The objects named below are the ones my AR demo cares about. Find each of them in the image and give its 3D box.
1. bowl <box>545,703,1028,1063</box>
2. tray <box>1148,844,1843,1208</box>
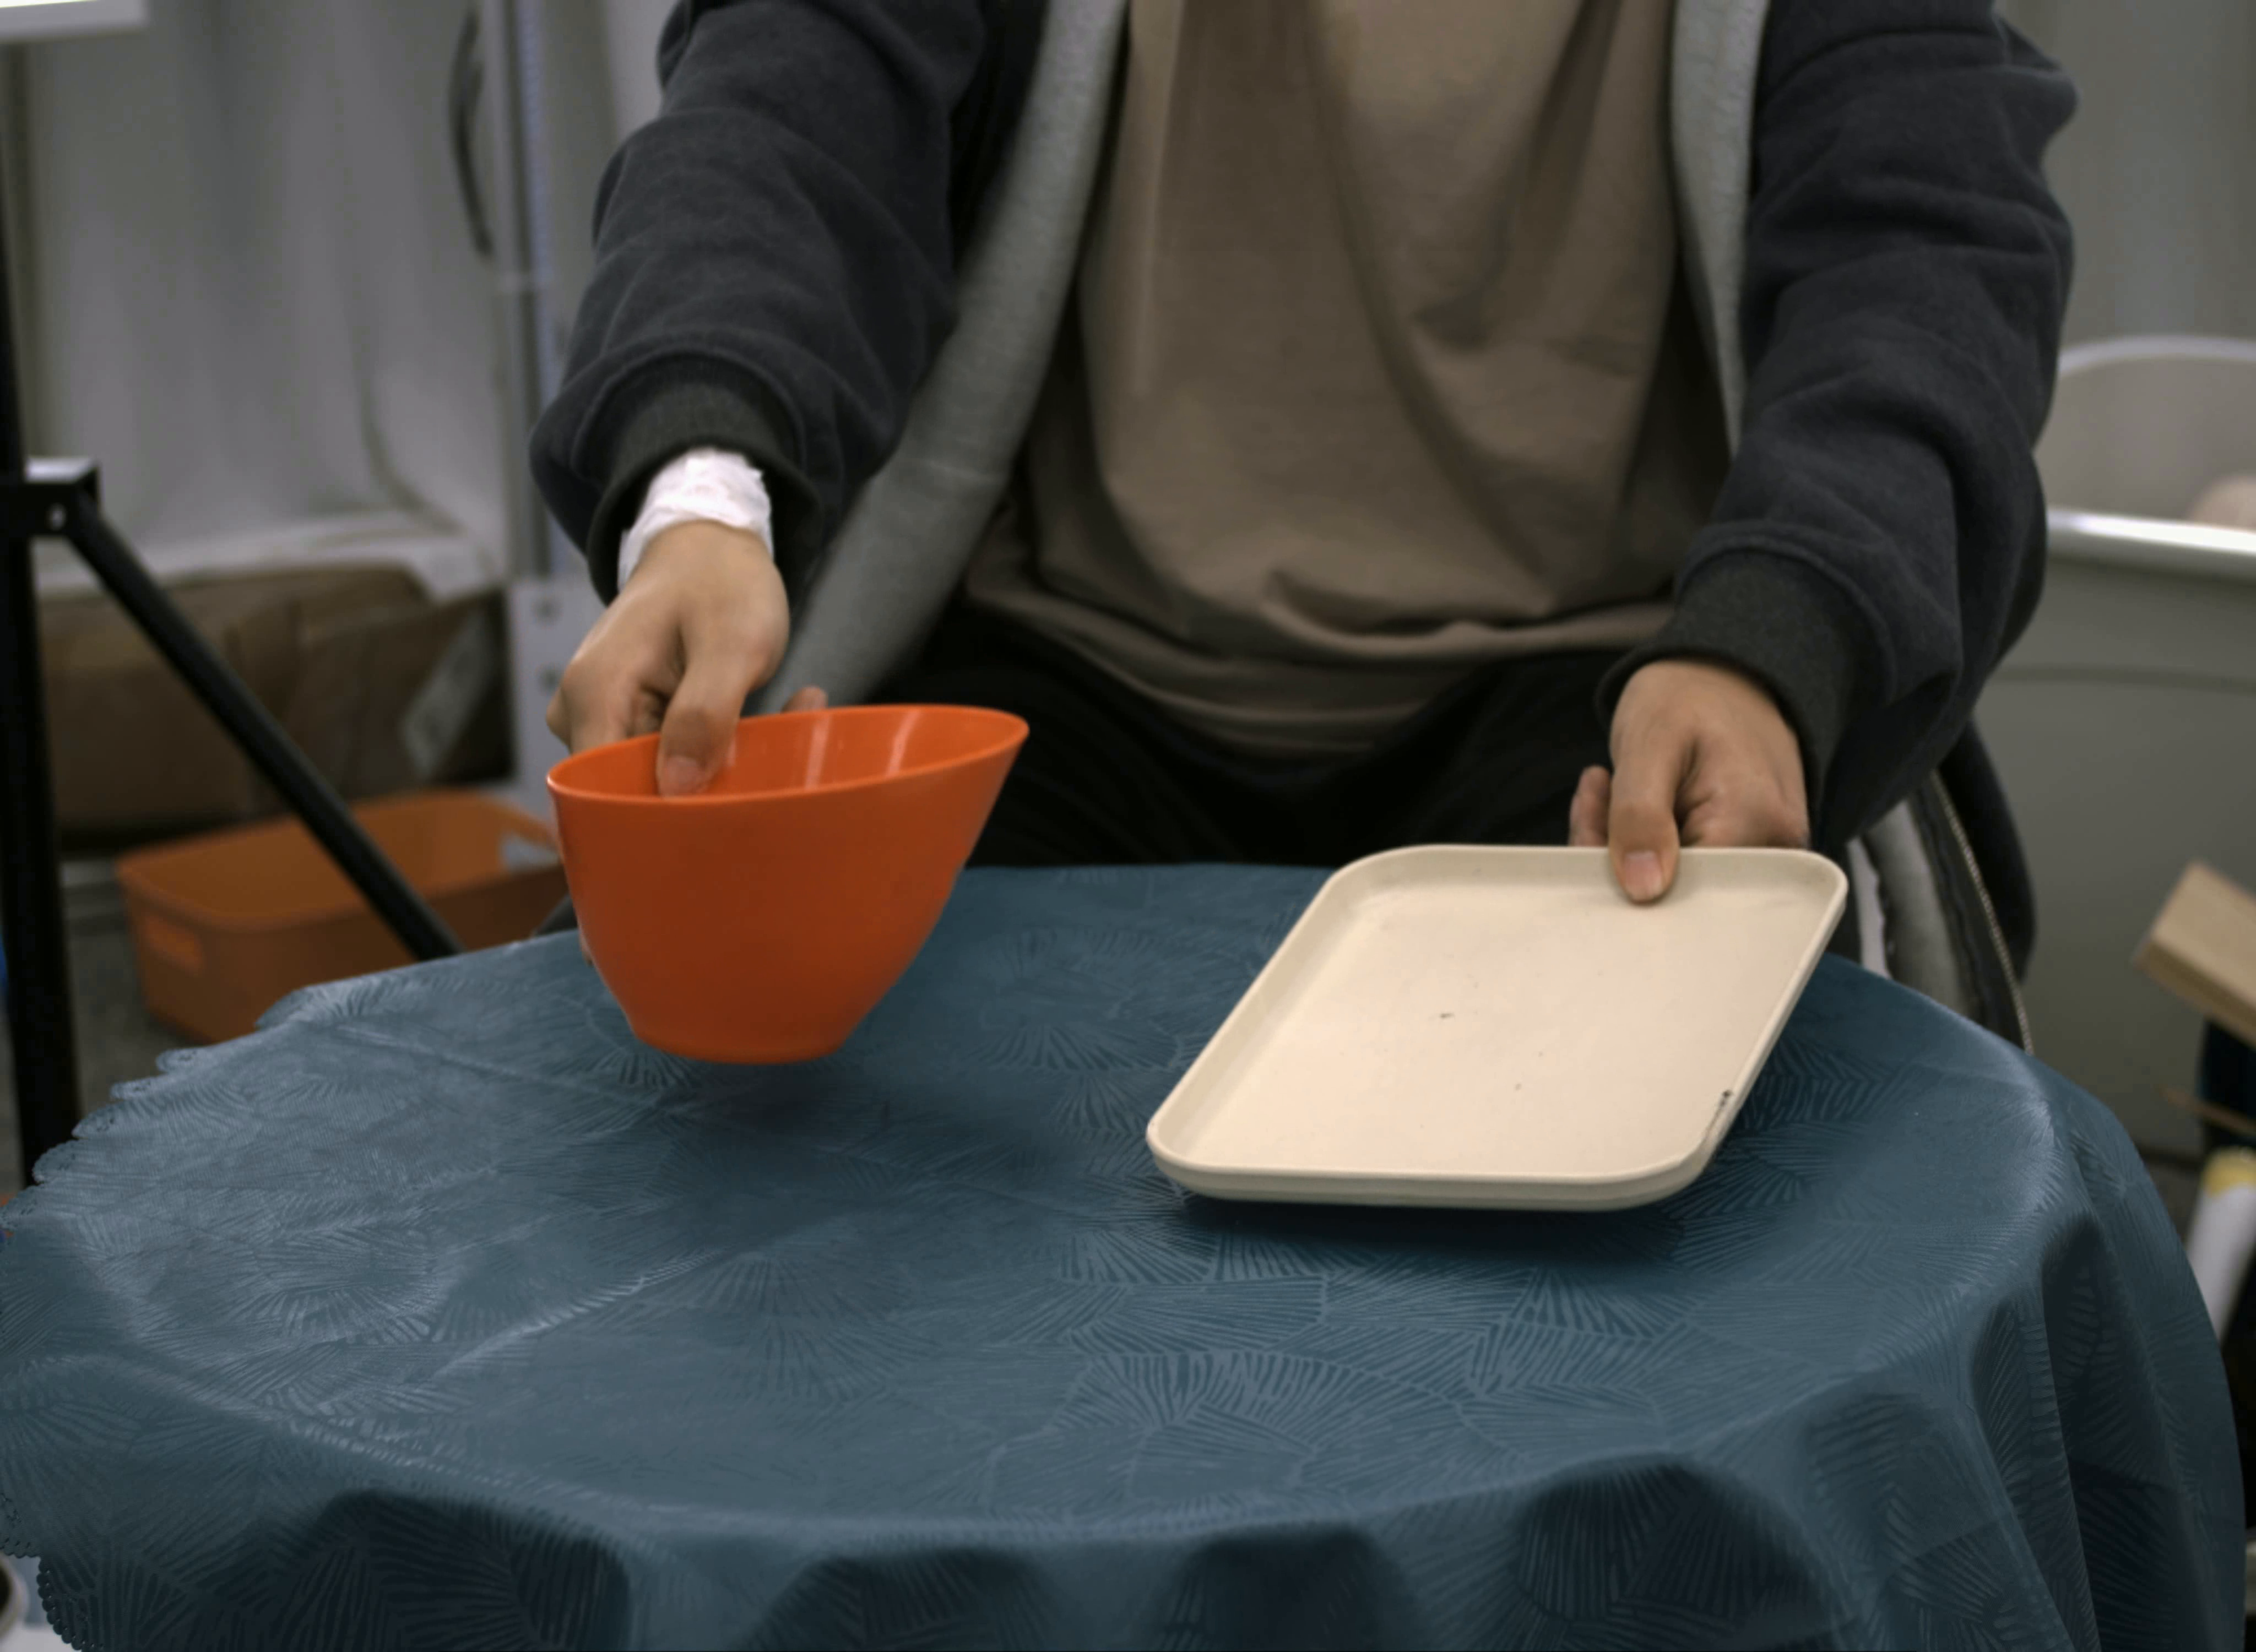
[{"bbox_3d":[-0.107,0.016,1.637,0.147,0.105,0.149,3,13,-2],"label":"bowl"},{"bbox_3d":[0.115,0.059,1.593,0.173,0.017,0.237,0,22,21],"label":"tray"}]
